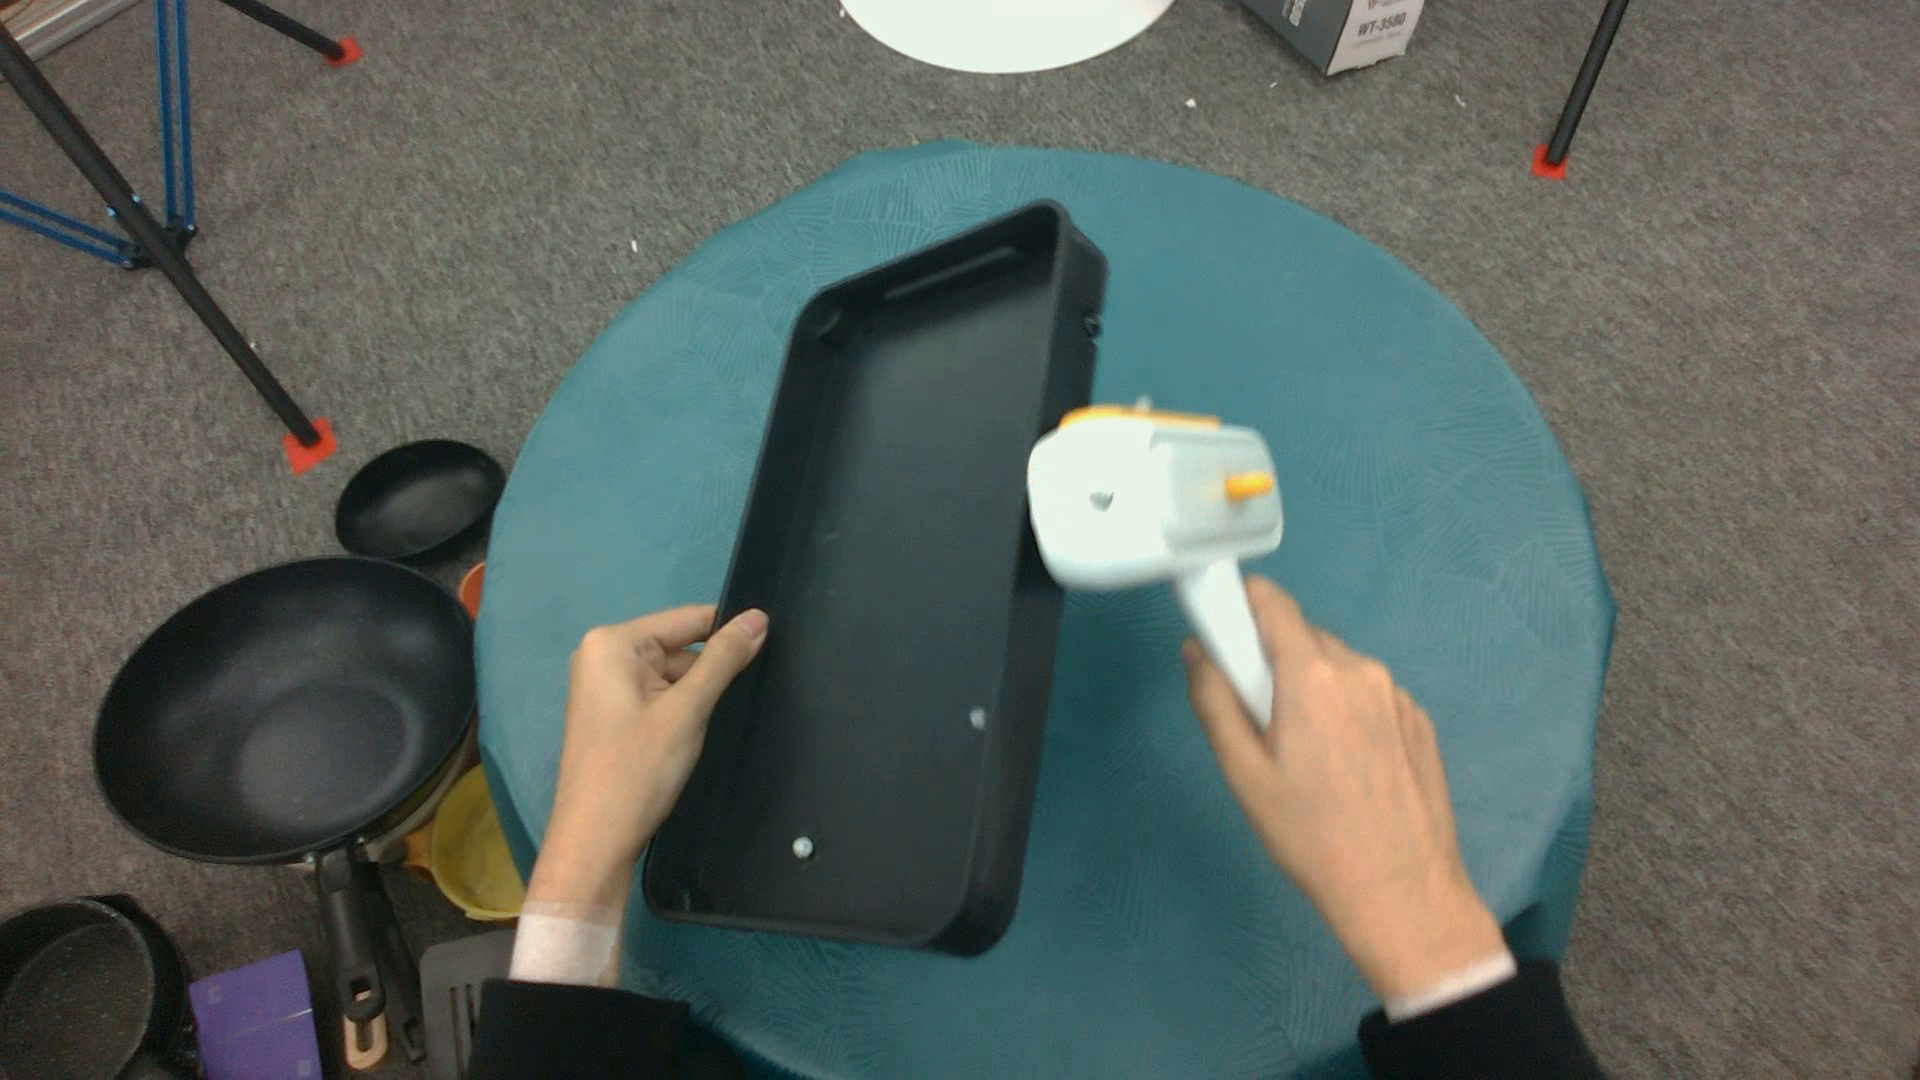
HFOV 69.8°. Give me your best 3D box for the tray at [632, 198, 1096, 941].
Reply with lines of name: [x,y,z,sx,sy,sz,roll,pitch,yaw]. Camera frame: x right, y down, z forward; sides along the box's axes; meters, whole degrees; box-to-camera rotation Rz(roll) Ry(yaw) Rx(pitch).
tray: [-0.038,0.009,0.599,0.183,0.037,0.319,-11,59,38]

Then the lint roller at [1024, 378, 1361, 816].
lint roller: [0.105,0.024,0.564,0.074,0.193,0.192,-19,88,22]
